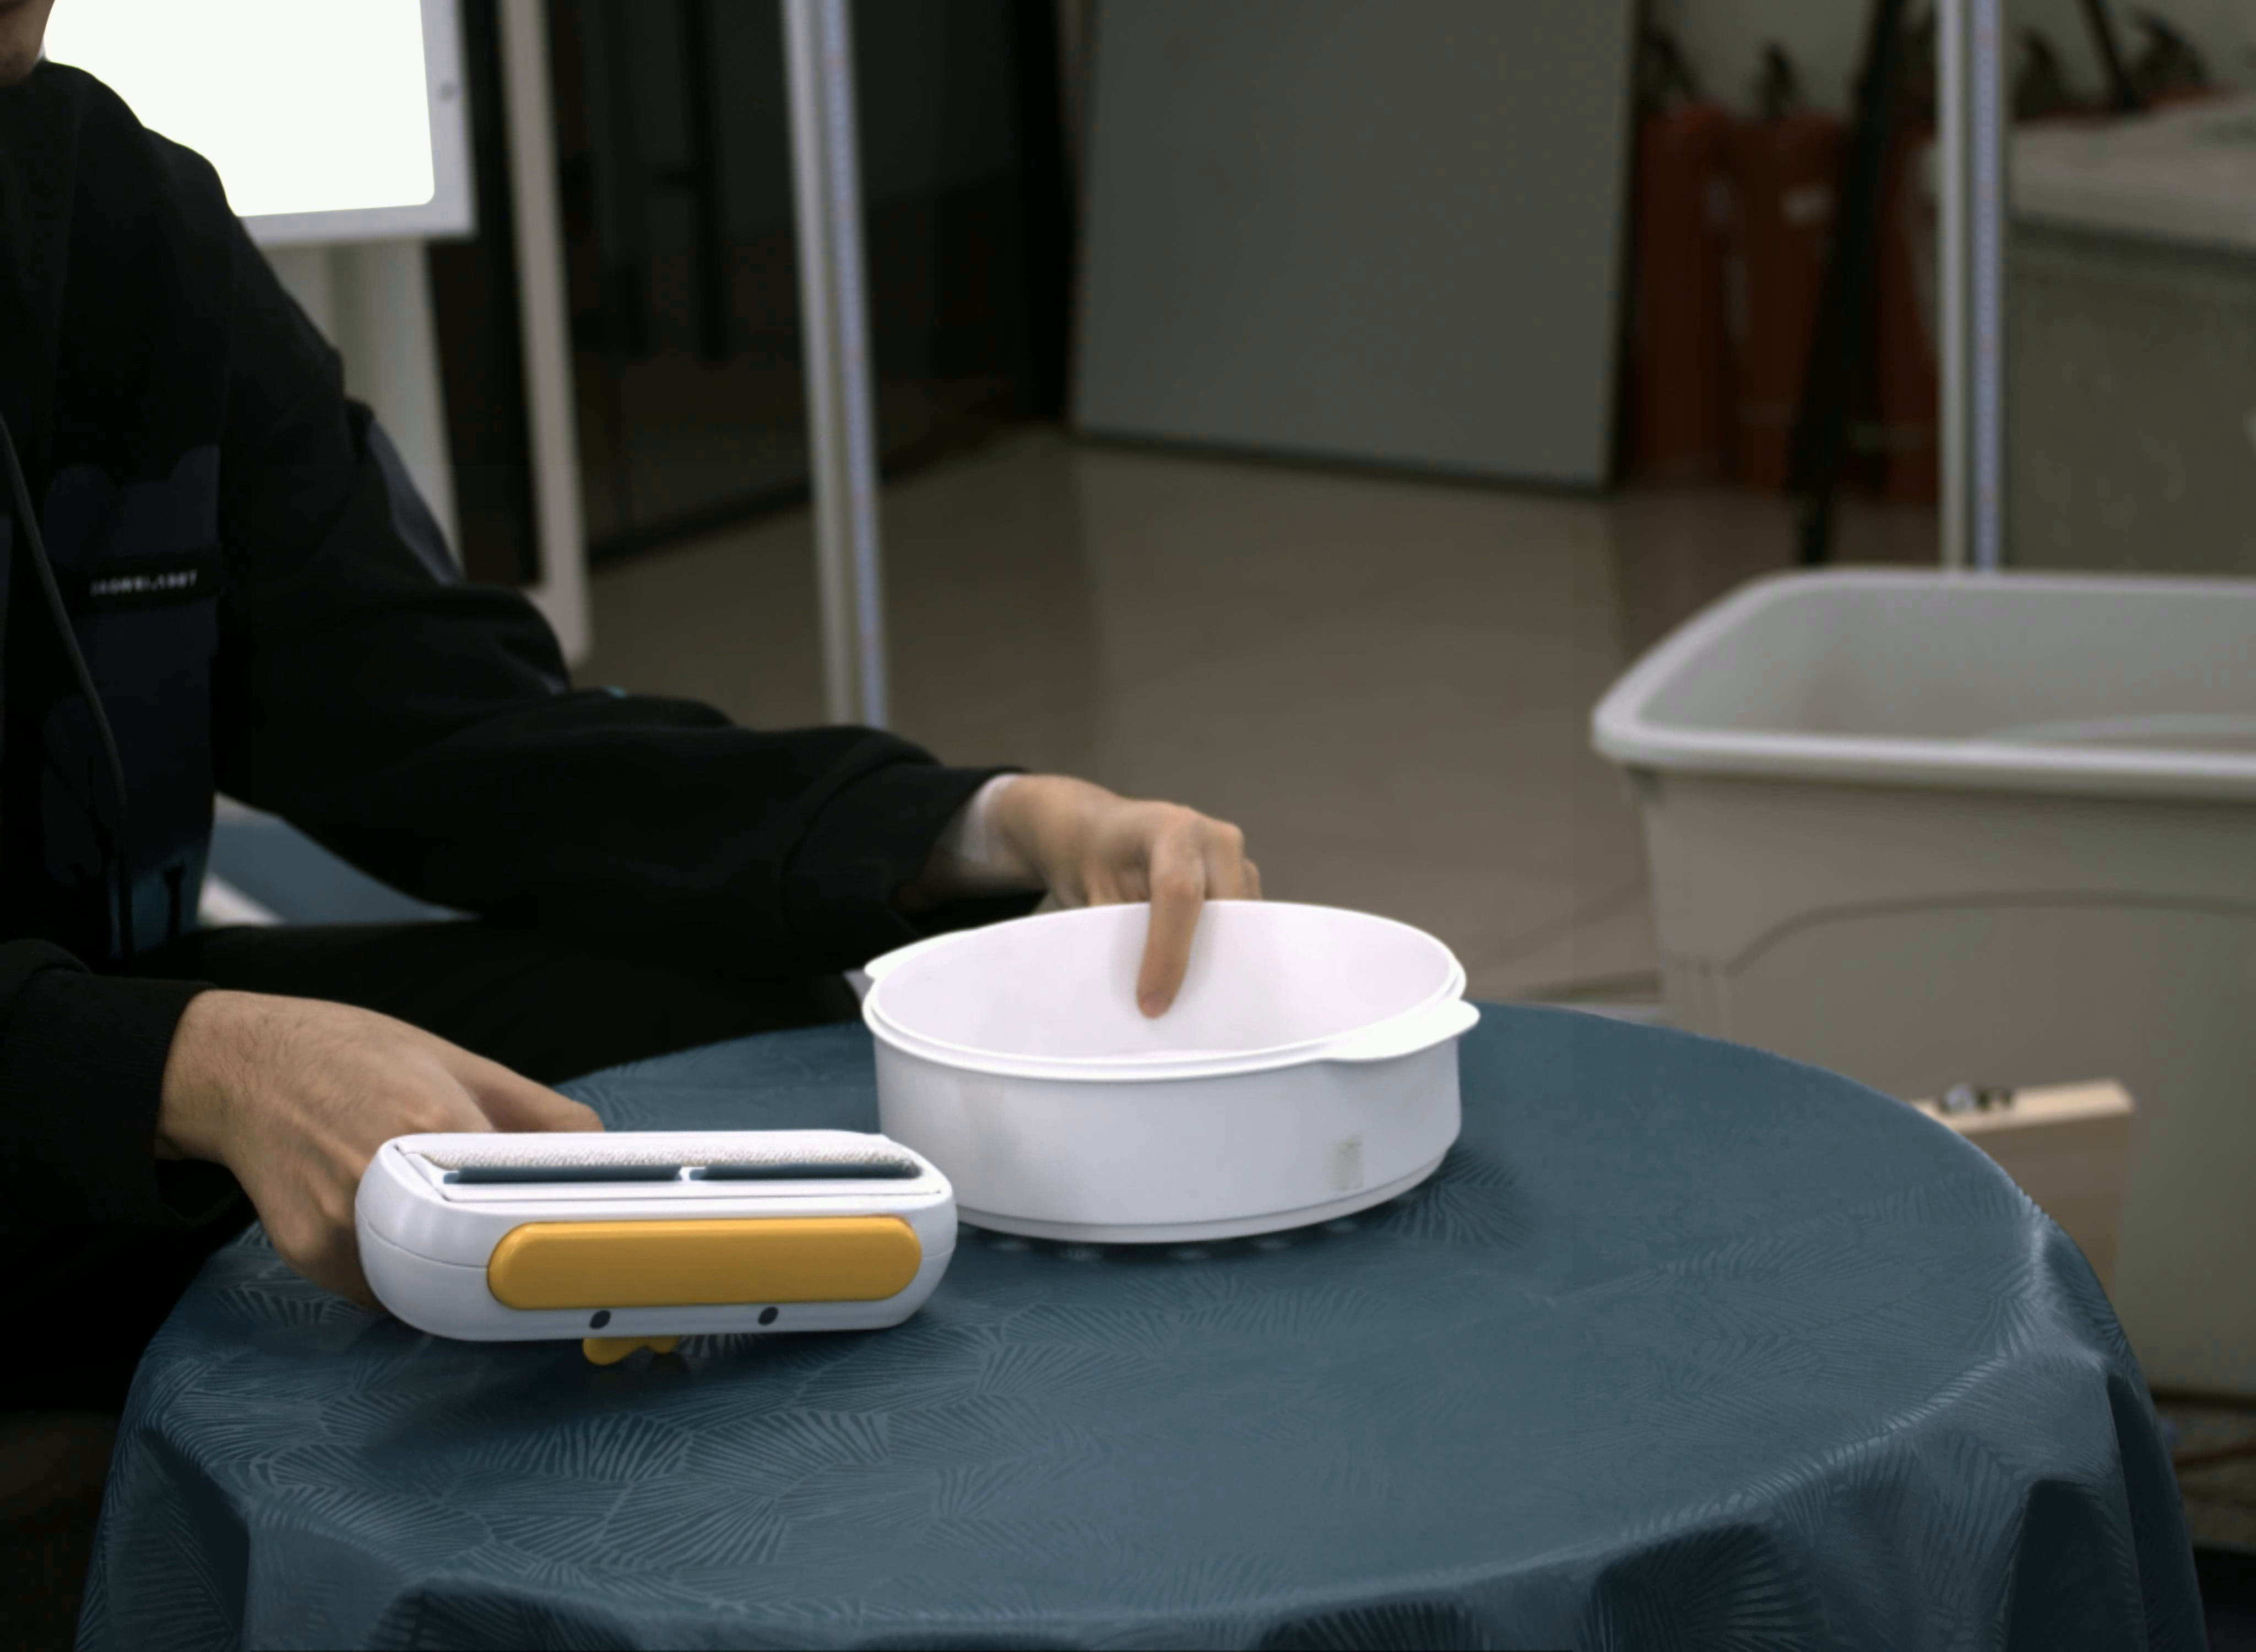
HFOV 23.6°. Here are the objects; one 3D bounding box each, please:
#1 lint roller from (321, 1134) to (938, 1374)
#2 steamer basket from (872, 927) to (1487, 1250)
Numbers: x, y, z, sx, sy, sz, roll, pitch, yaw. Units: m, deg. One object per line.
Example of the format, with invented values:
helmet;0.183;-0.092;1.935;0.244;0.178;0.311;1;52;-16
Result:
lint roller;-0.175;0.119;1.682;0.188;0.075;0.194;-2;11;-27
steamer basket;0.017;0.086;1.777;0.232;0.070;0.198;4;14;40
